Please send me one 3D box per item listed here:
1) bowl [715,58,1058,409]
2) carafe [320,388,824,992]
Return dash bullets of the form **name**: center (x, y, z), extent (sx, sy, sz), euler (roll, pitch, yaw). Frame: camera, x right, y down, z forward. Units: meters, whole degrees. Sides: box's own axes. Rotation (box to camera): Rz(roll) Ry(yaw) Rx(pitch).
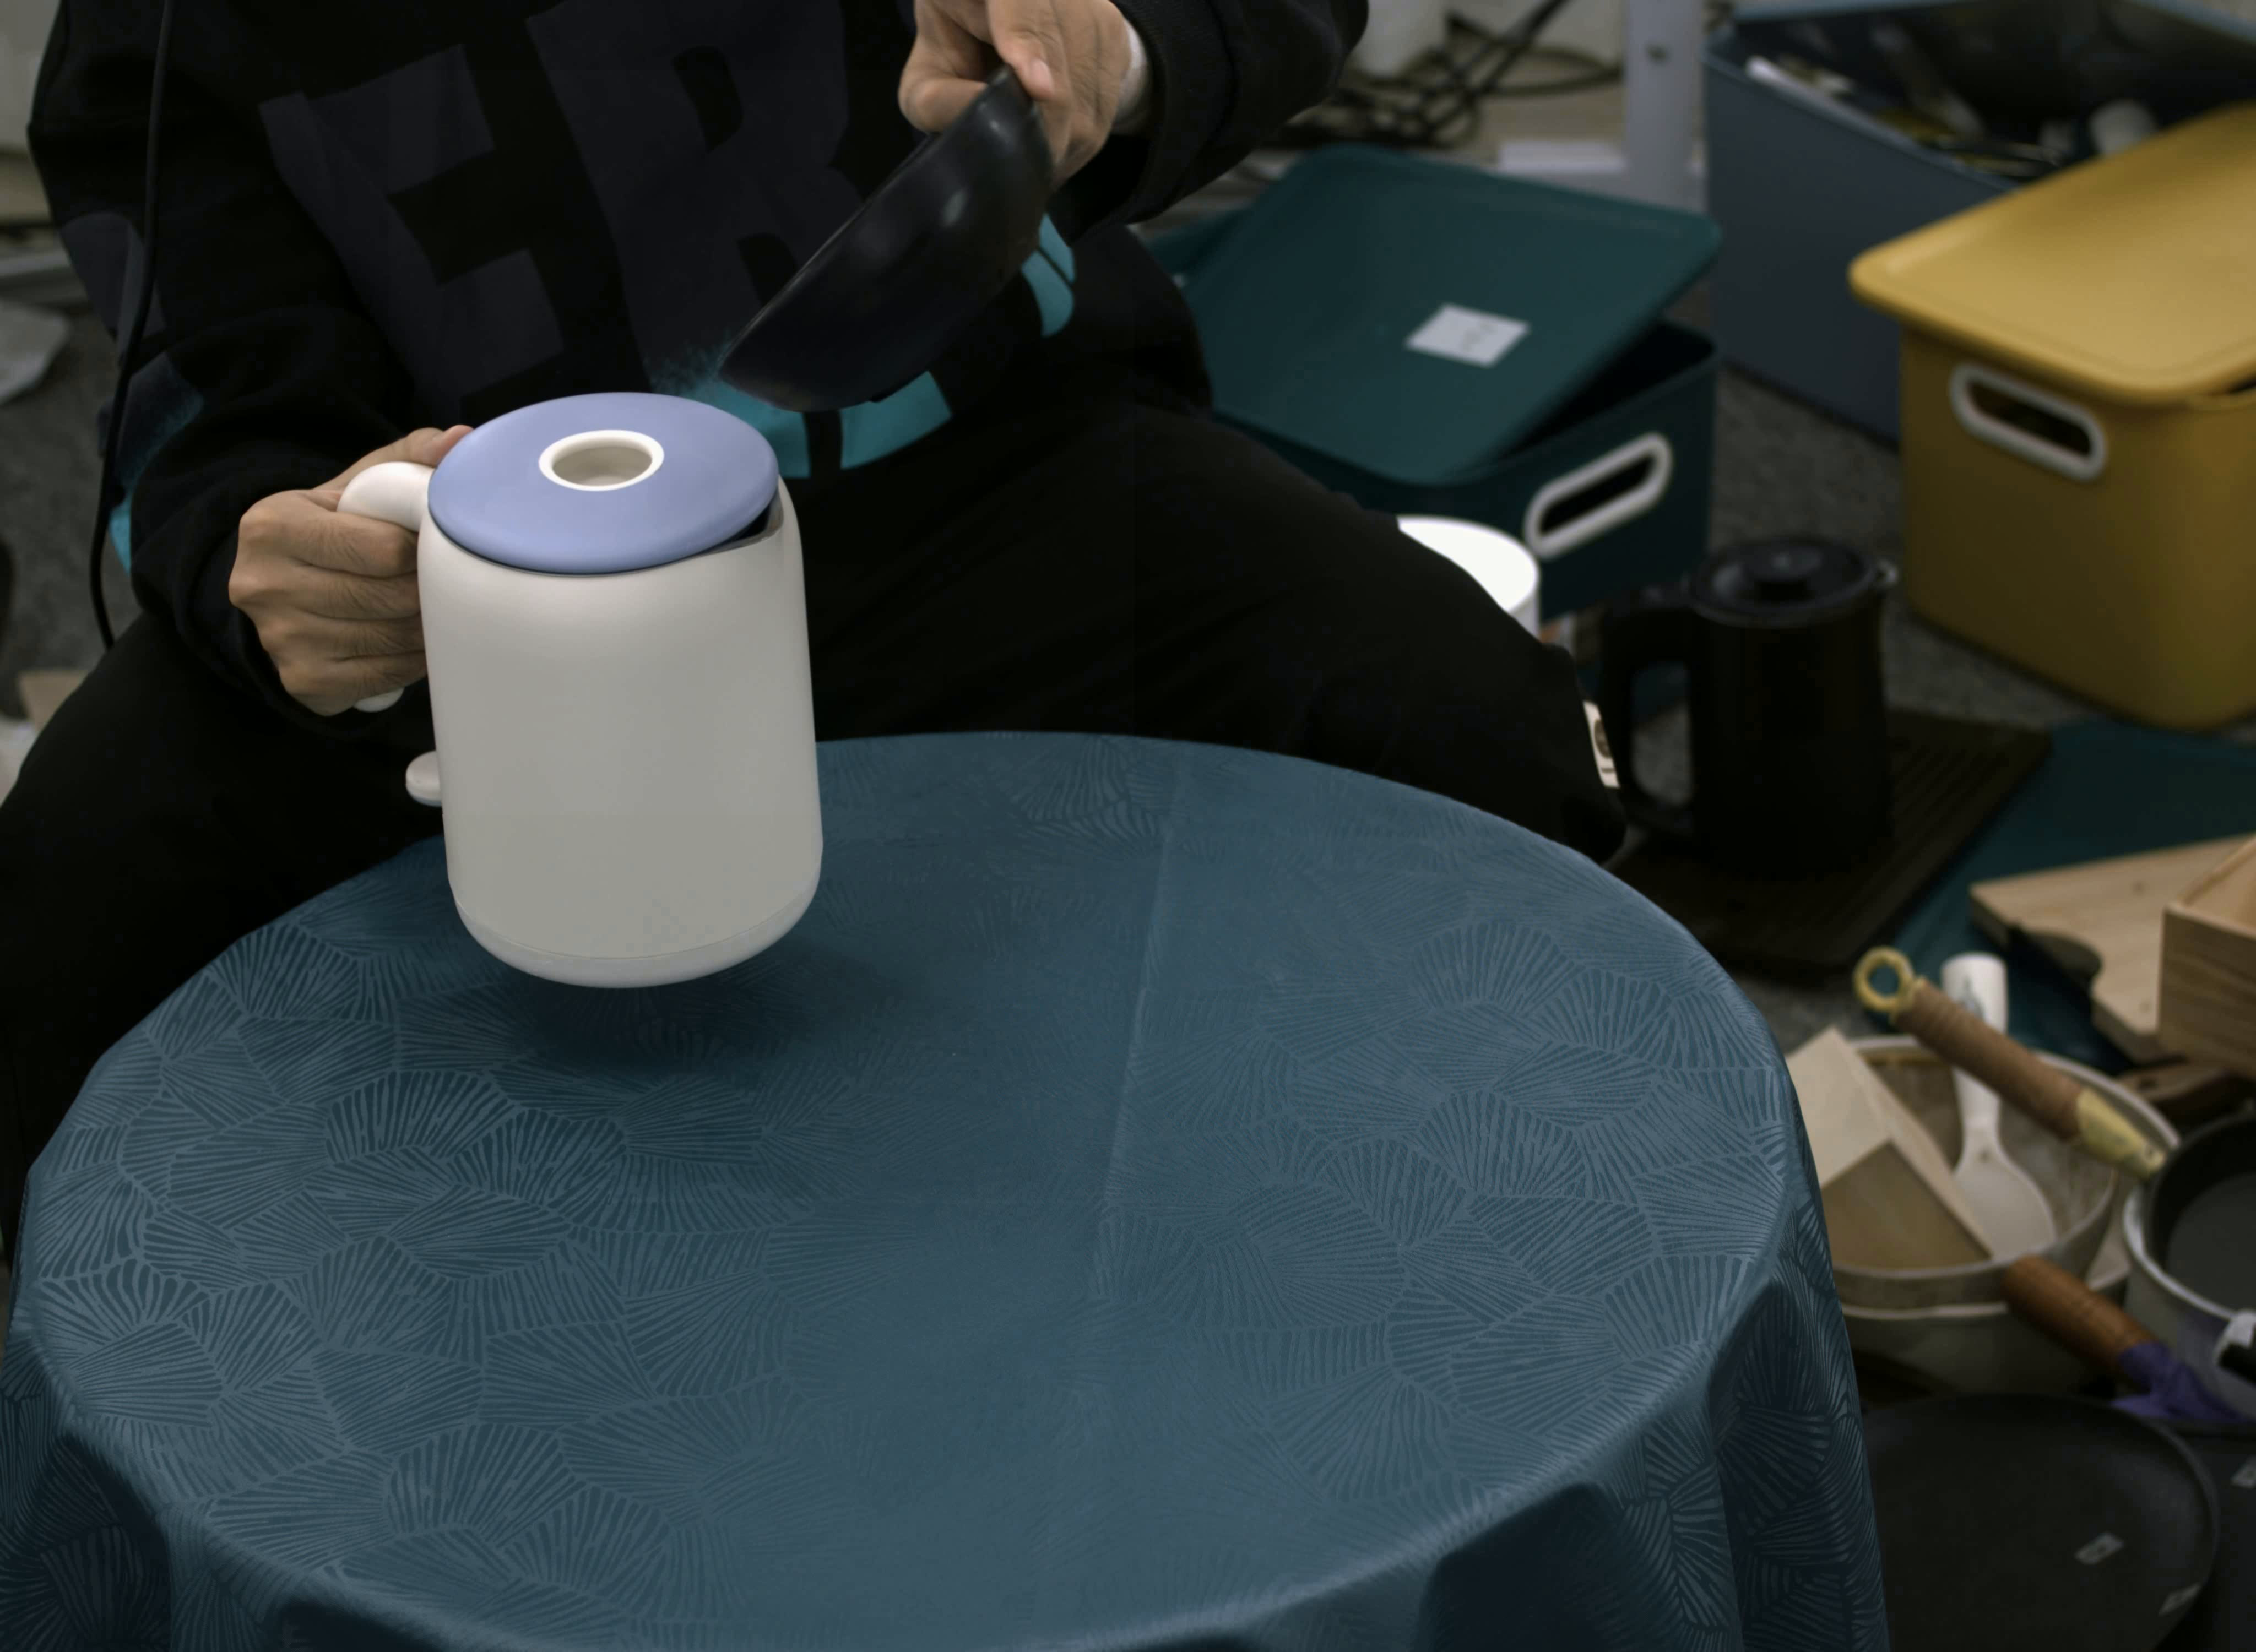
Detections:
- **bowl**: center (-0.067, -0.180, 1.809), extent (0.049, 0.138, 0.142), euler (44, 33, -6)
- **carafe**: center (-0.196, -0.051, 1.937), extent (0.190, 0.180, 0.134), euler (11, 32, 25)
